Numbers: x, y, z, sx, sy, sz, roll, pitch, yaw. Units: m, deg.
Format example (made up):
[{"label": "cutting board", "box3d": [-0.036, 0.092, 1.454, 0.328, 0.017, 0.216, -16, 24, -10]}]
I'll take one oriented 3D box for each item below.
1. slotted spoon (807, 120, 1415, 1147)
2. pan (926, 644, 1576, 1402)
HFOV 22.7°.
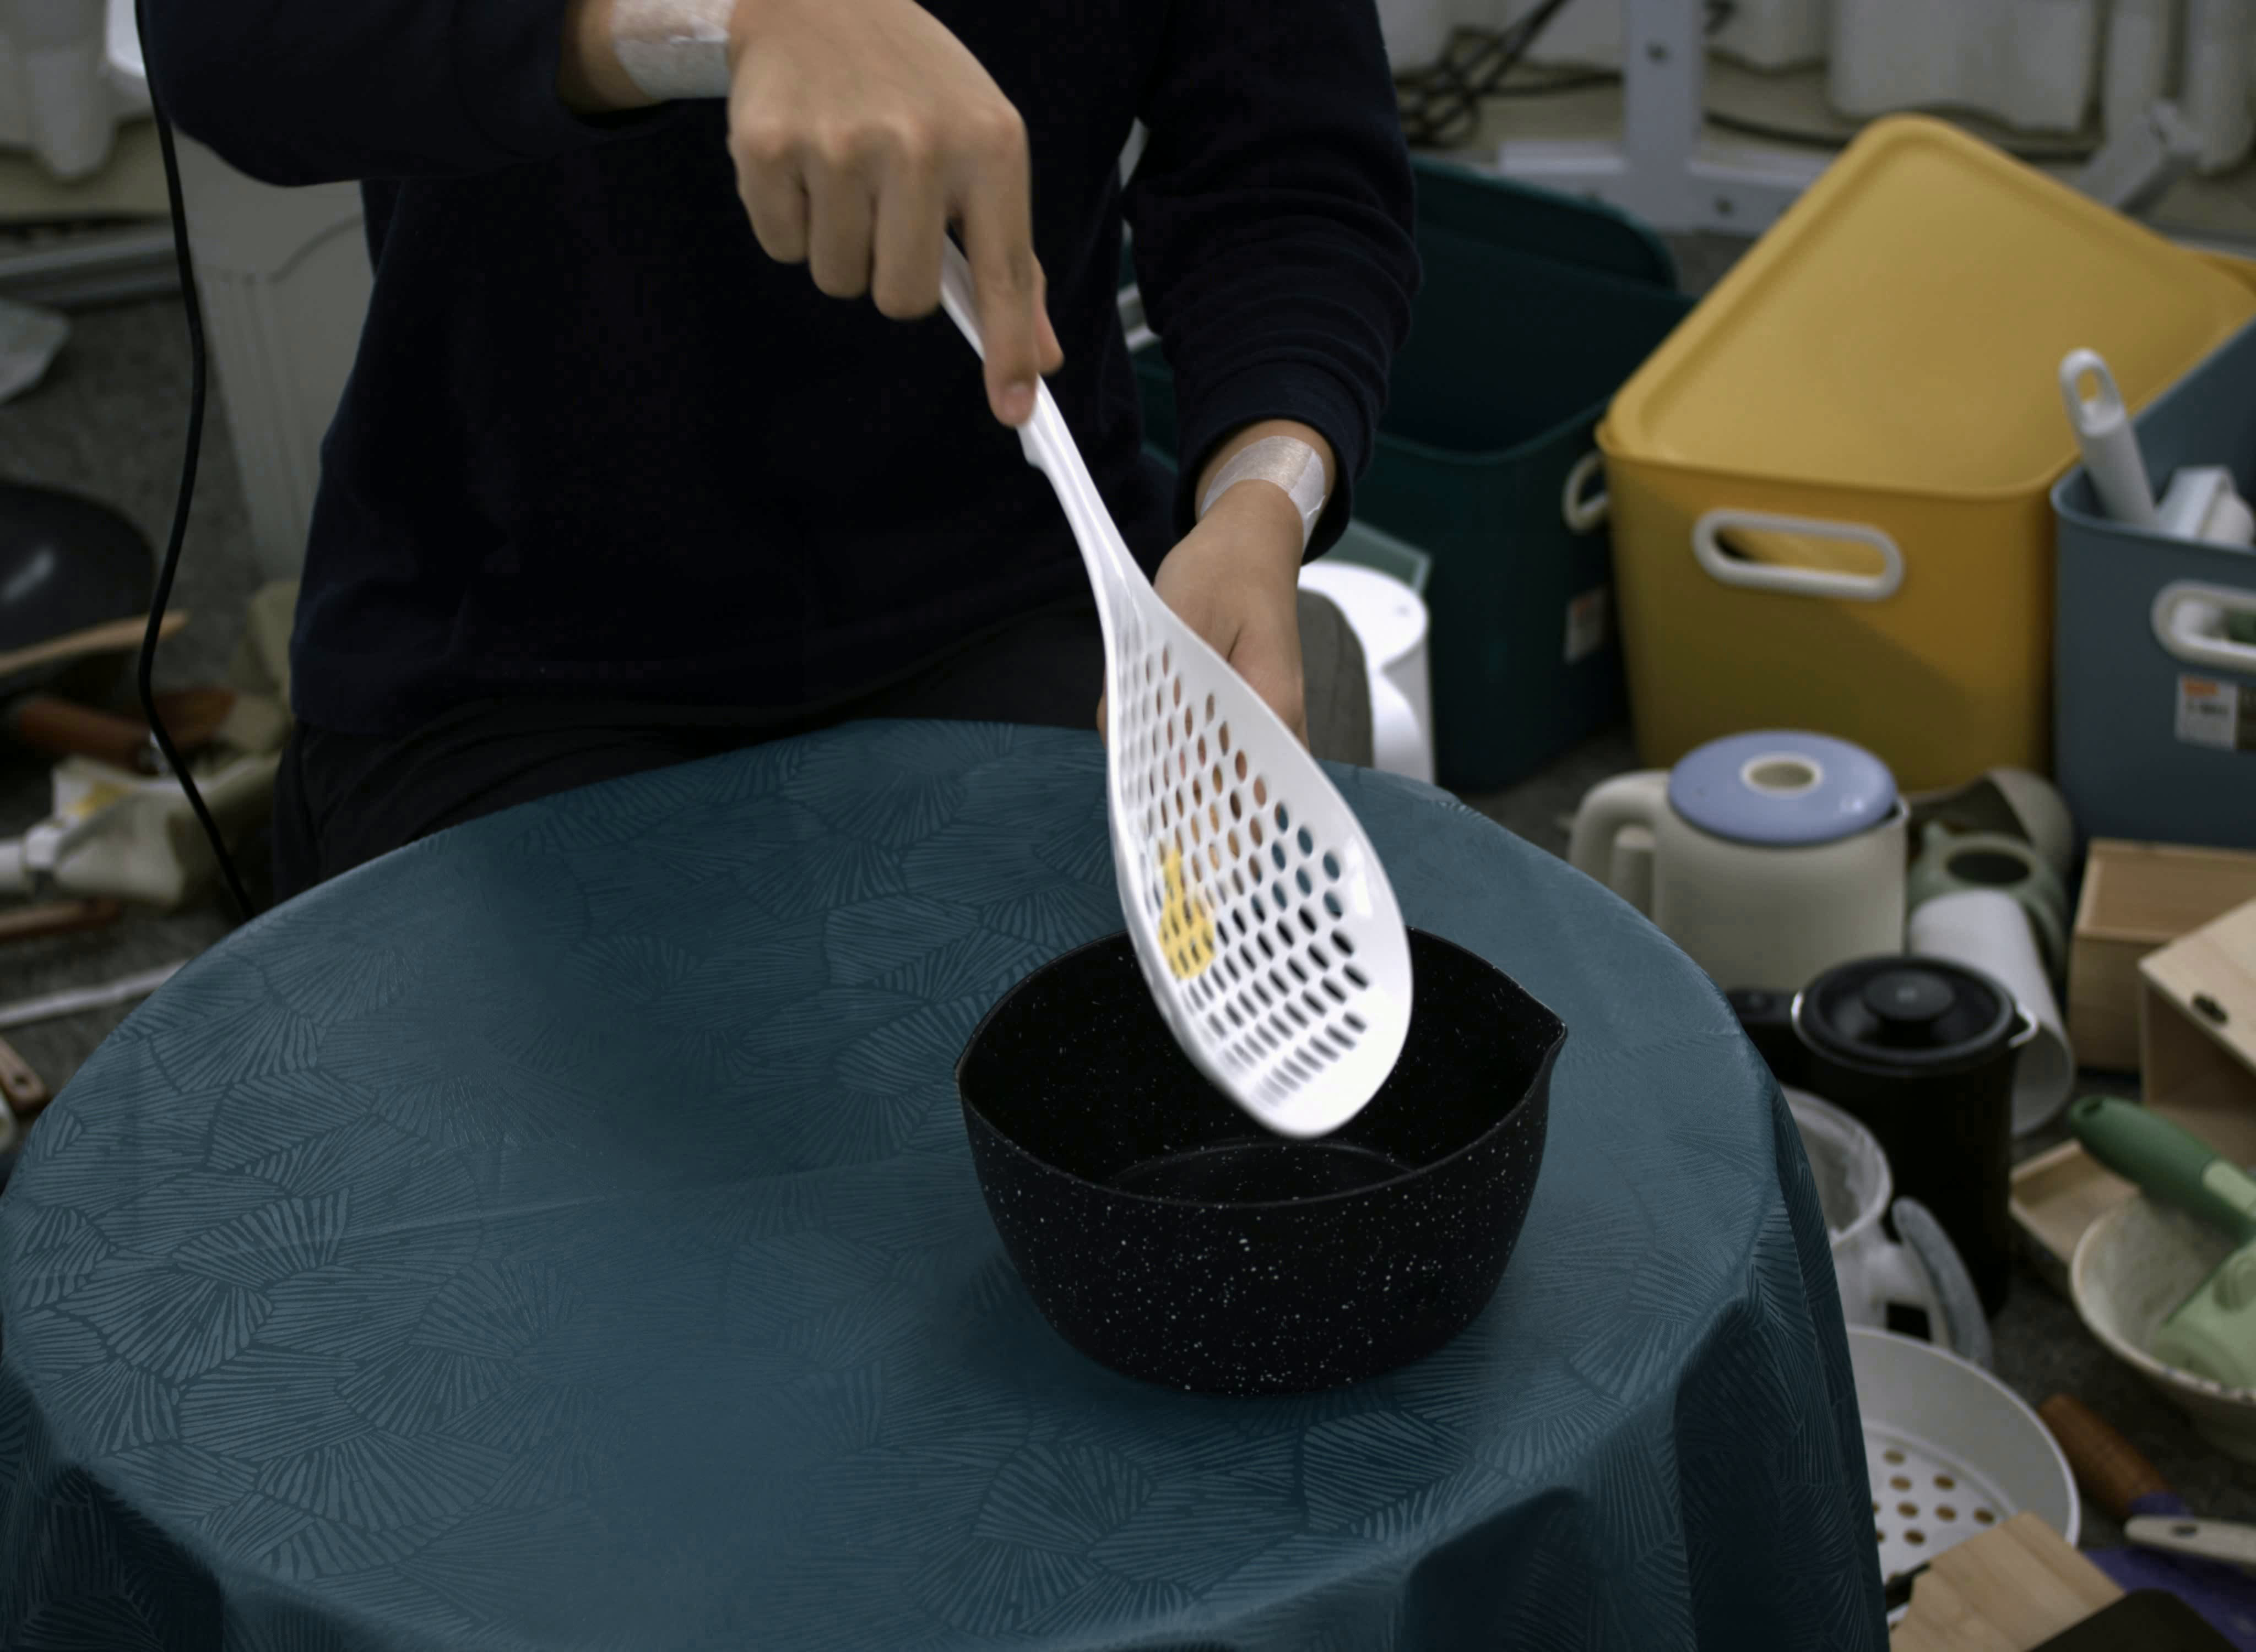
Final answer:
[{"label": "slotted spoon", "box3d": [-0.009, -0.062, 1.733, 0.049, 0.347, 0.139, -15, 13, 33]}, {"label": "pan", "box3d": [0.032, 0.061, 1.861, 0.207, 0.107, 0.347, -7, 29, -5]}]
